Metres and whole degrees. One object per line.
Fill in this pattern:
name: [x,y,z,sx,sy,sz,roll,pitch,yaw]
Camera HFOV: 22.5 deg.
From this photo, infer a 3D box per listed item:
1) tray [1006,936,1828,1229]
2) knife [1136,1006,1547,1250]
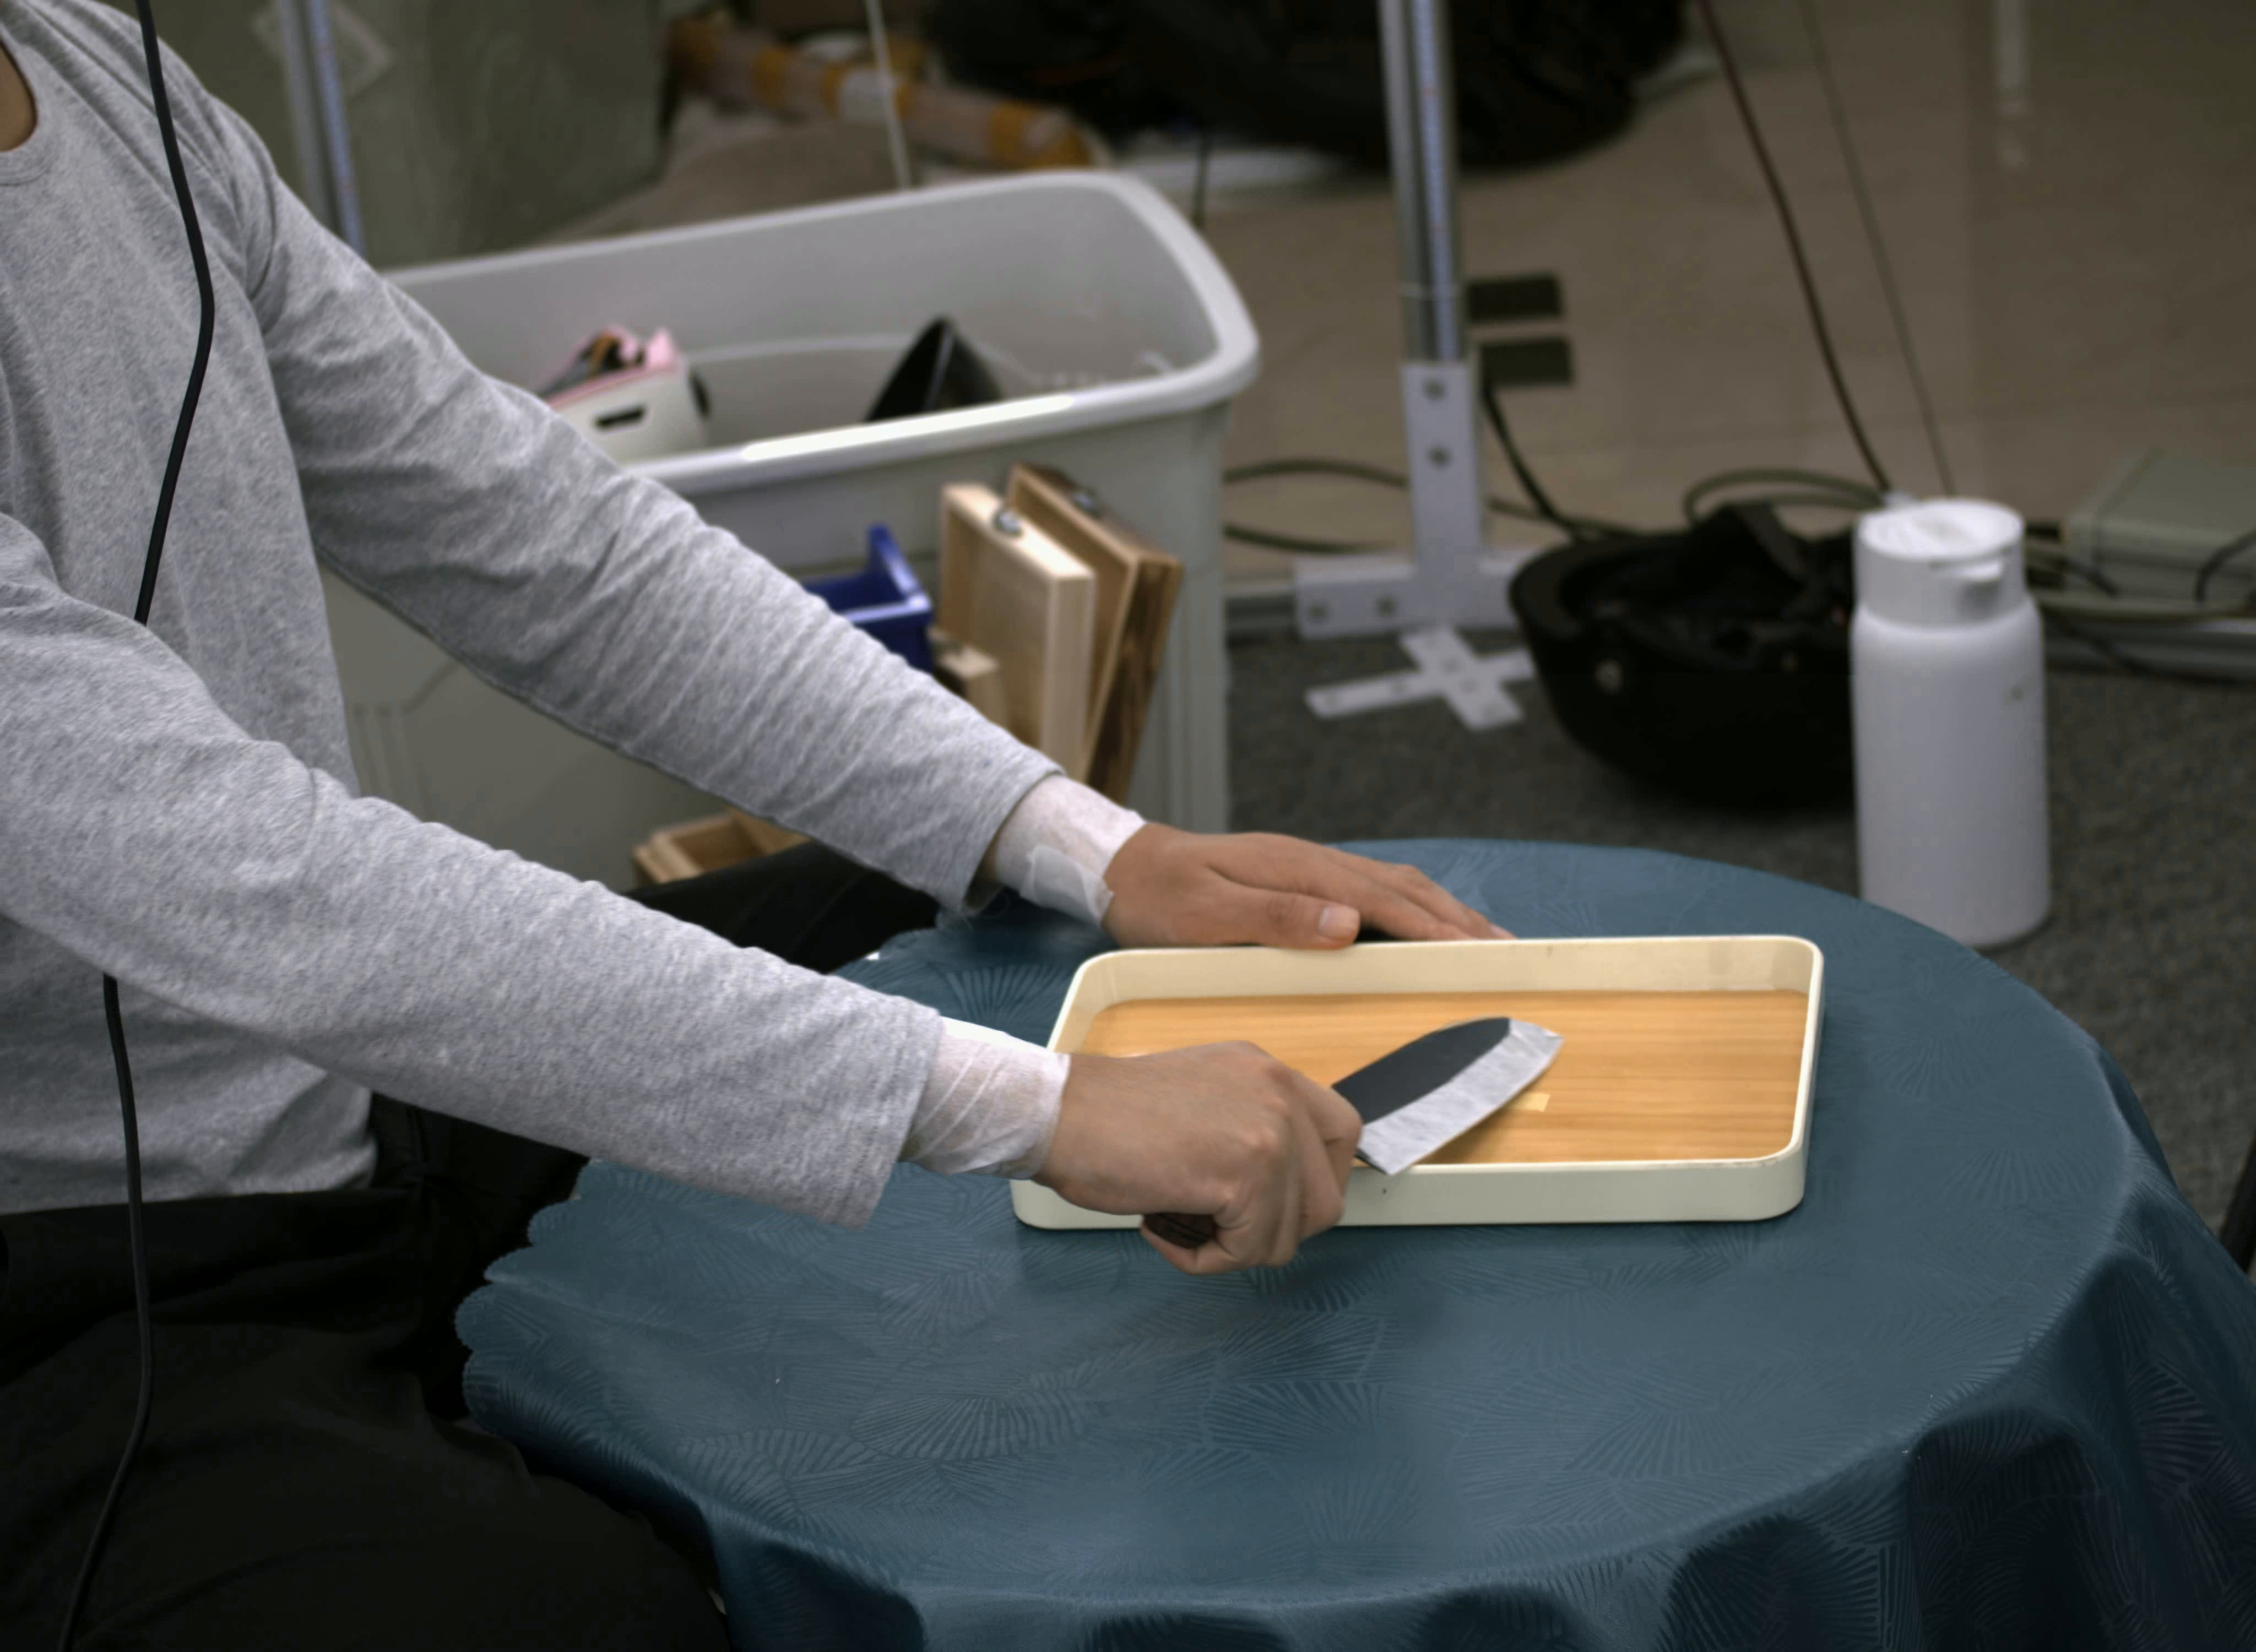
tray: [0.114,0.098,2.181,0.300,0.028,0.189,-2,25,11]
knife: [0.085,0.109,2.101,0.050,0.020,0.287,42,30,17]
